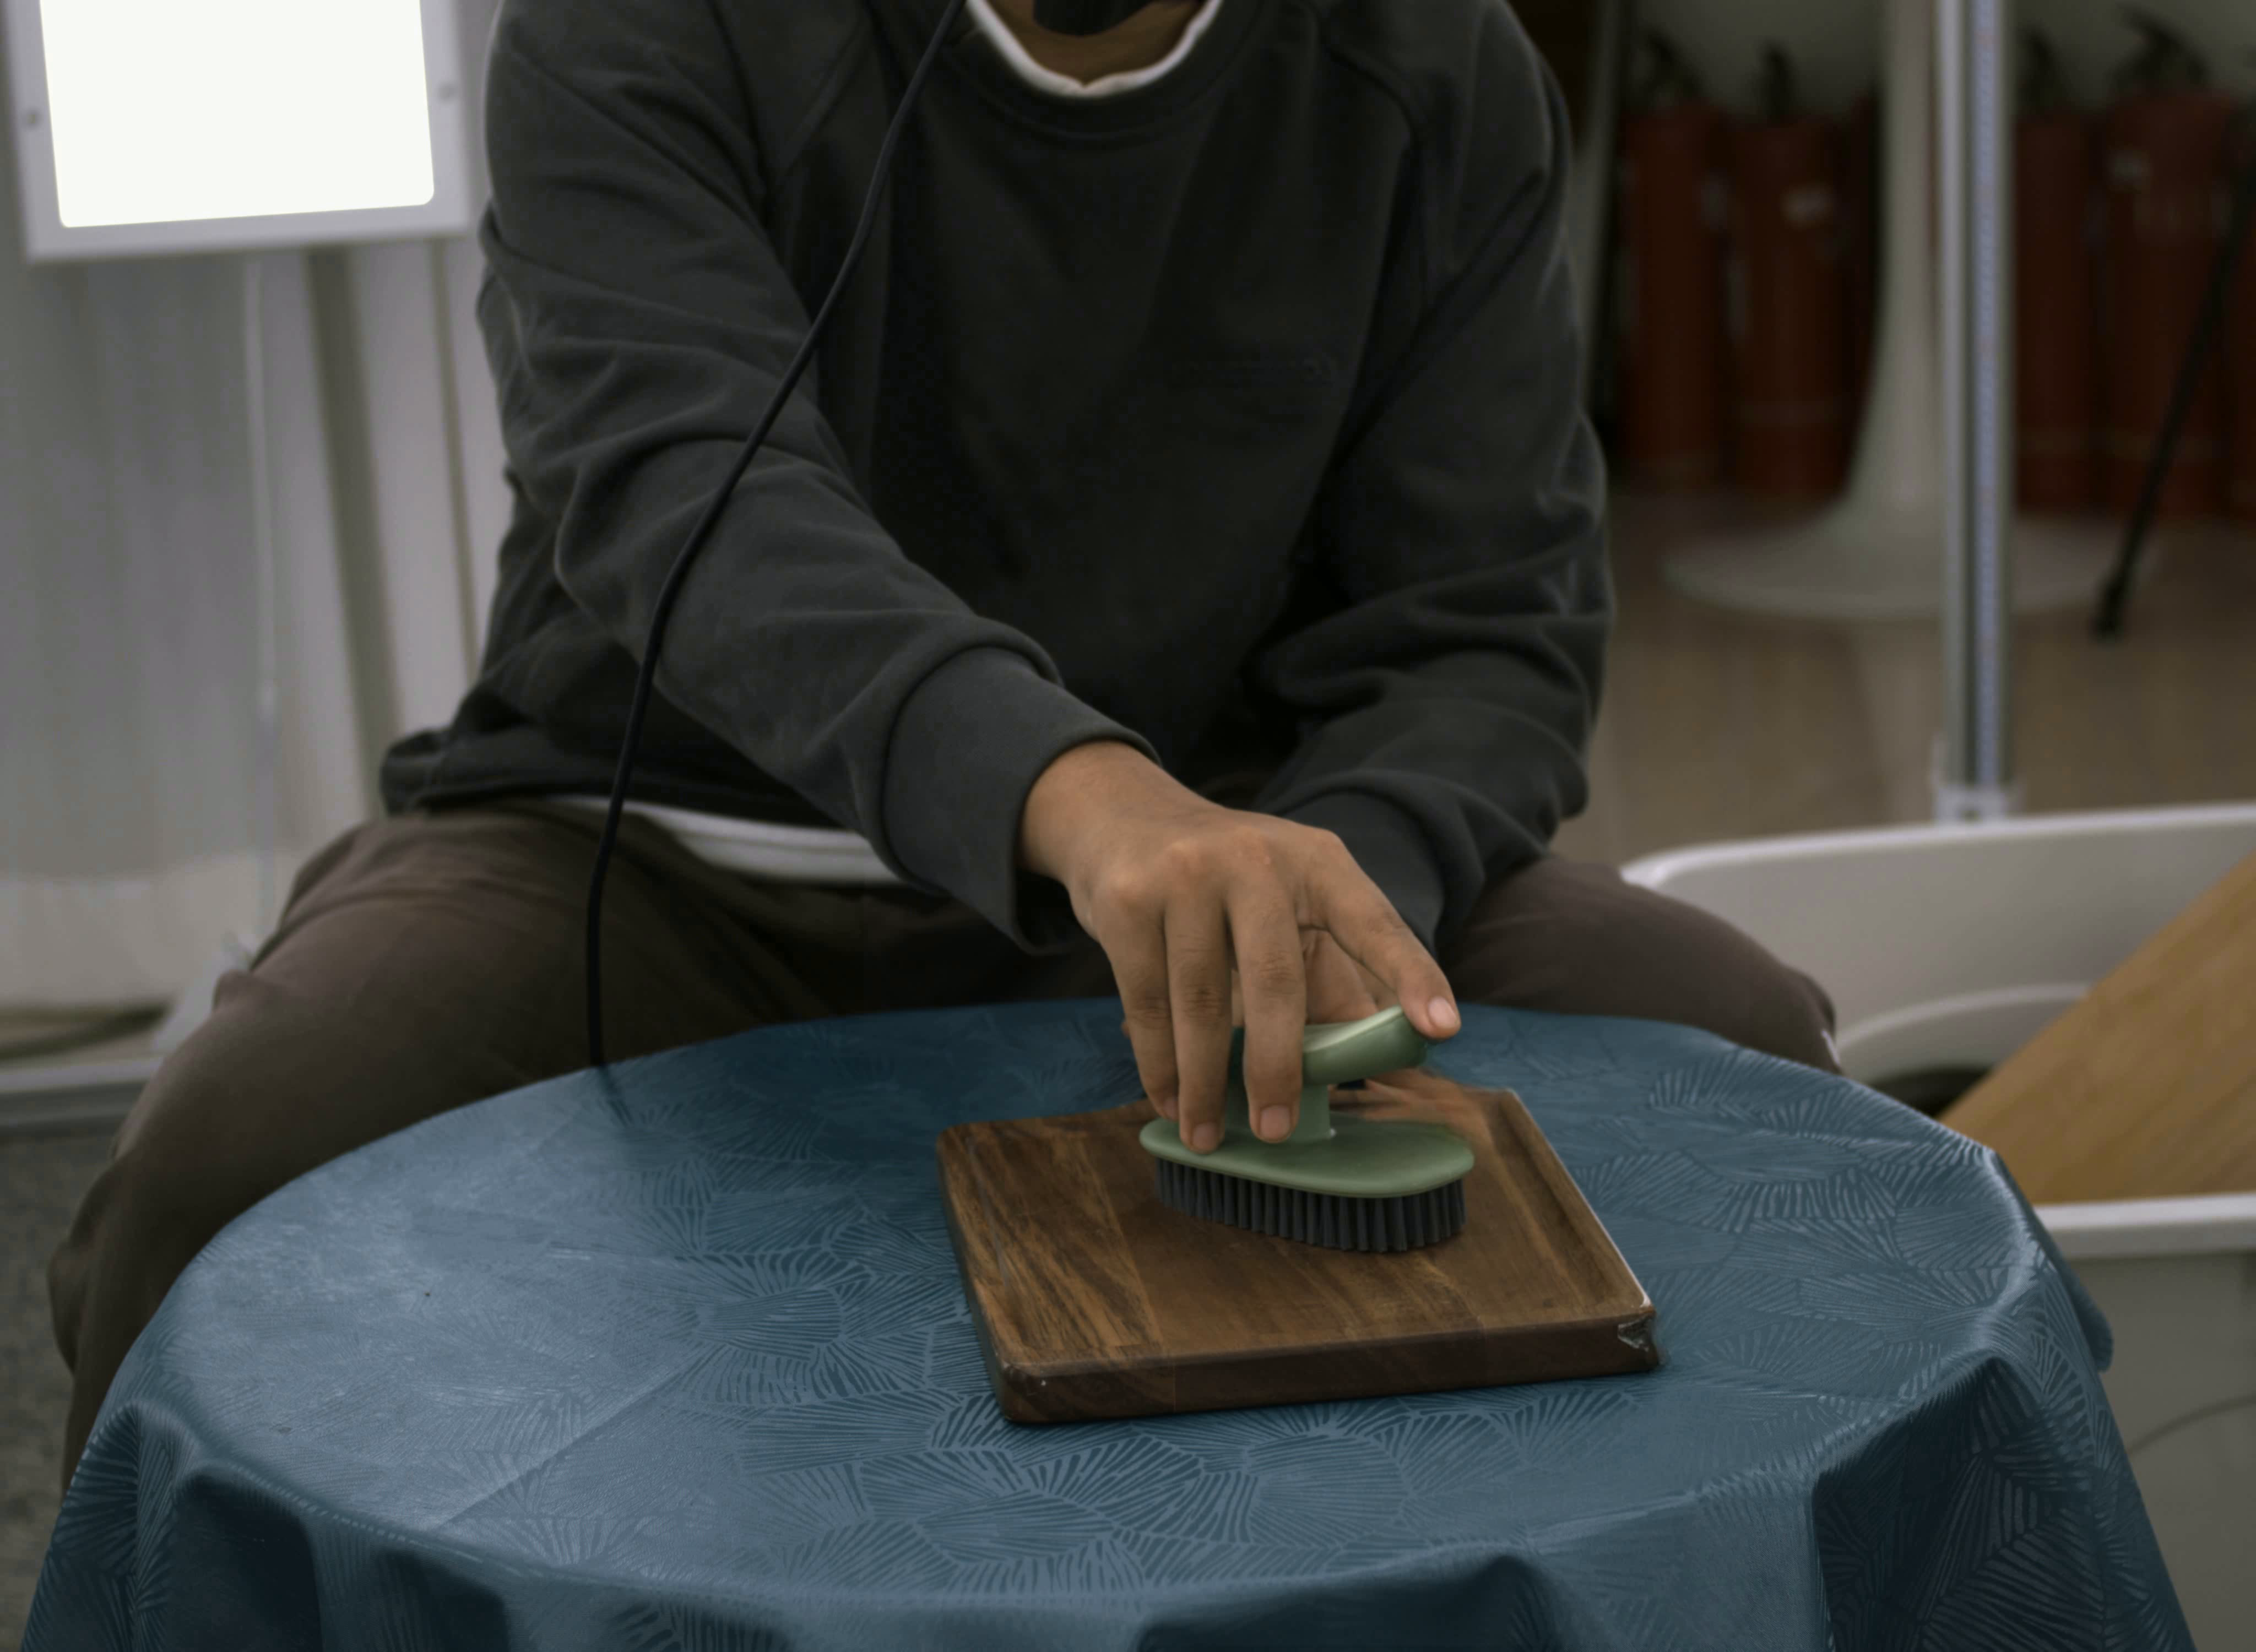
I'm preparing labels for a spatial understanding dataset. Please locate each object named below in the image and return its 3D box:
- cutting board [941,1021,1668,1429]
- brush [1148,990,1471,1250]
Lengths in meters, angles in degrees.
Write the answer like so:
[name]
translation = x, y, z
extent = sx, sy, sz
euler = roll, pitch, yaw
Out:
[cutting board]
translation = 0.043, 0.118, 1.730
extent = 0.198, 0.023, 0.353
euler = -5, 14, -5
[brush]
translation = 0.057, 0.096, 1.688
extent = 0.058, 0.076, 0.124
euler = -11, -1, -40
